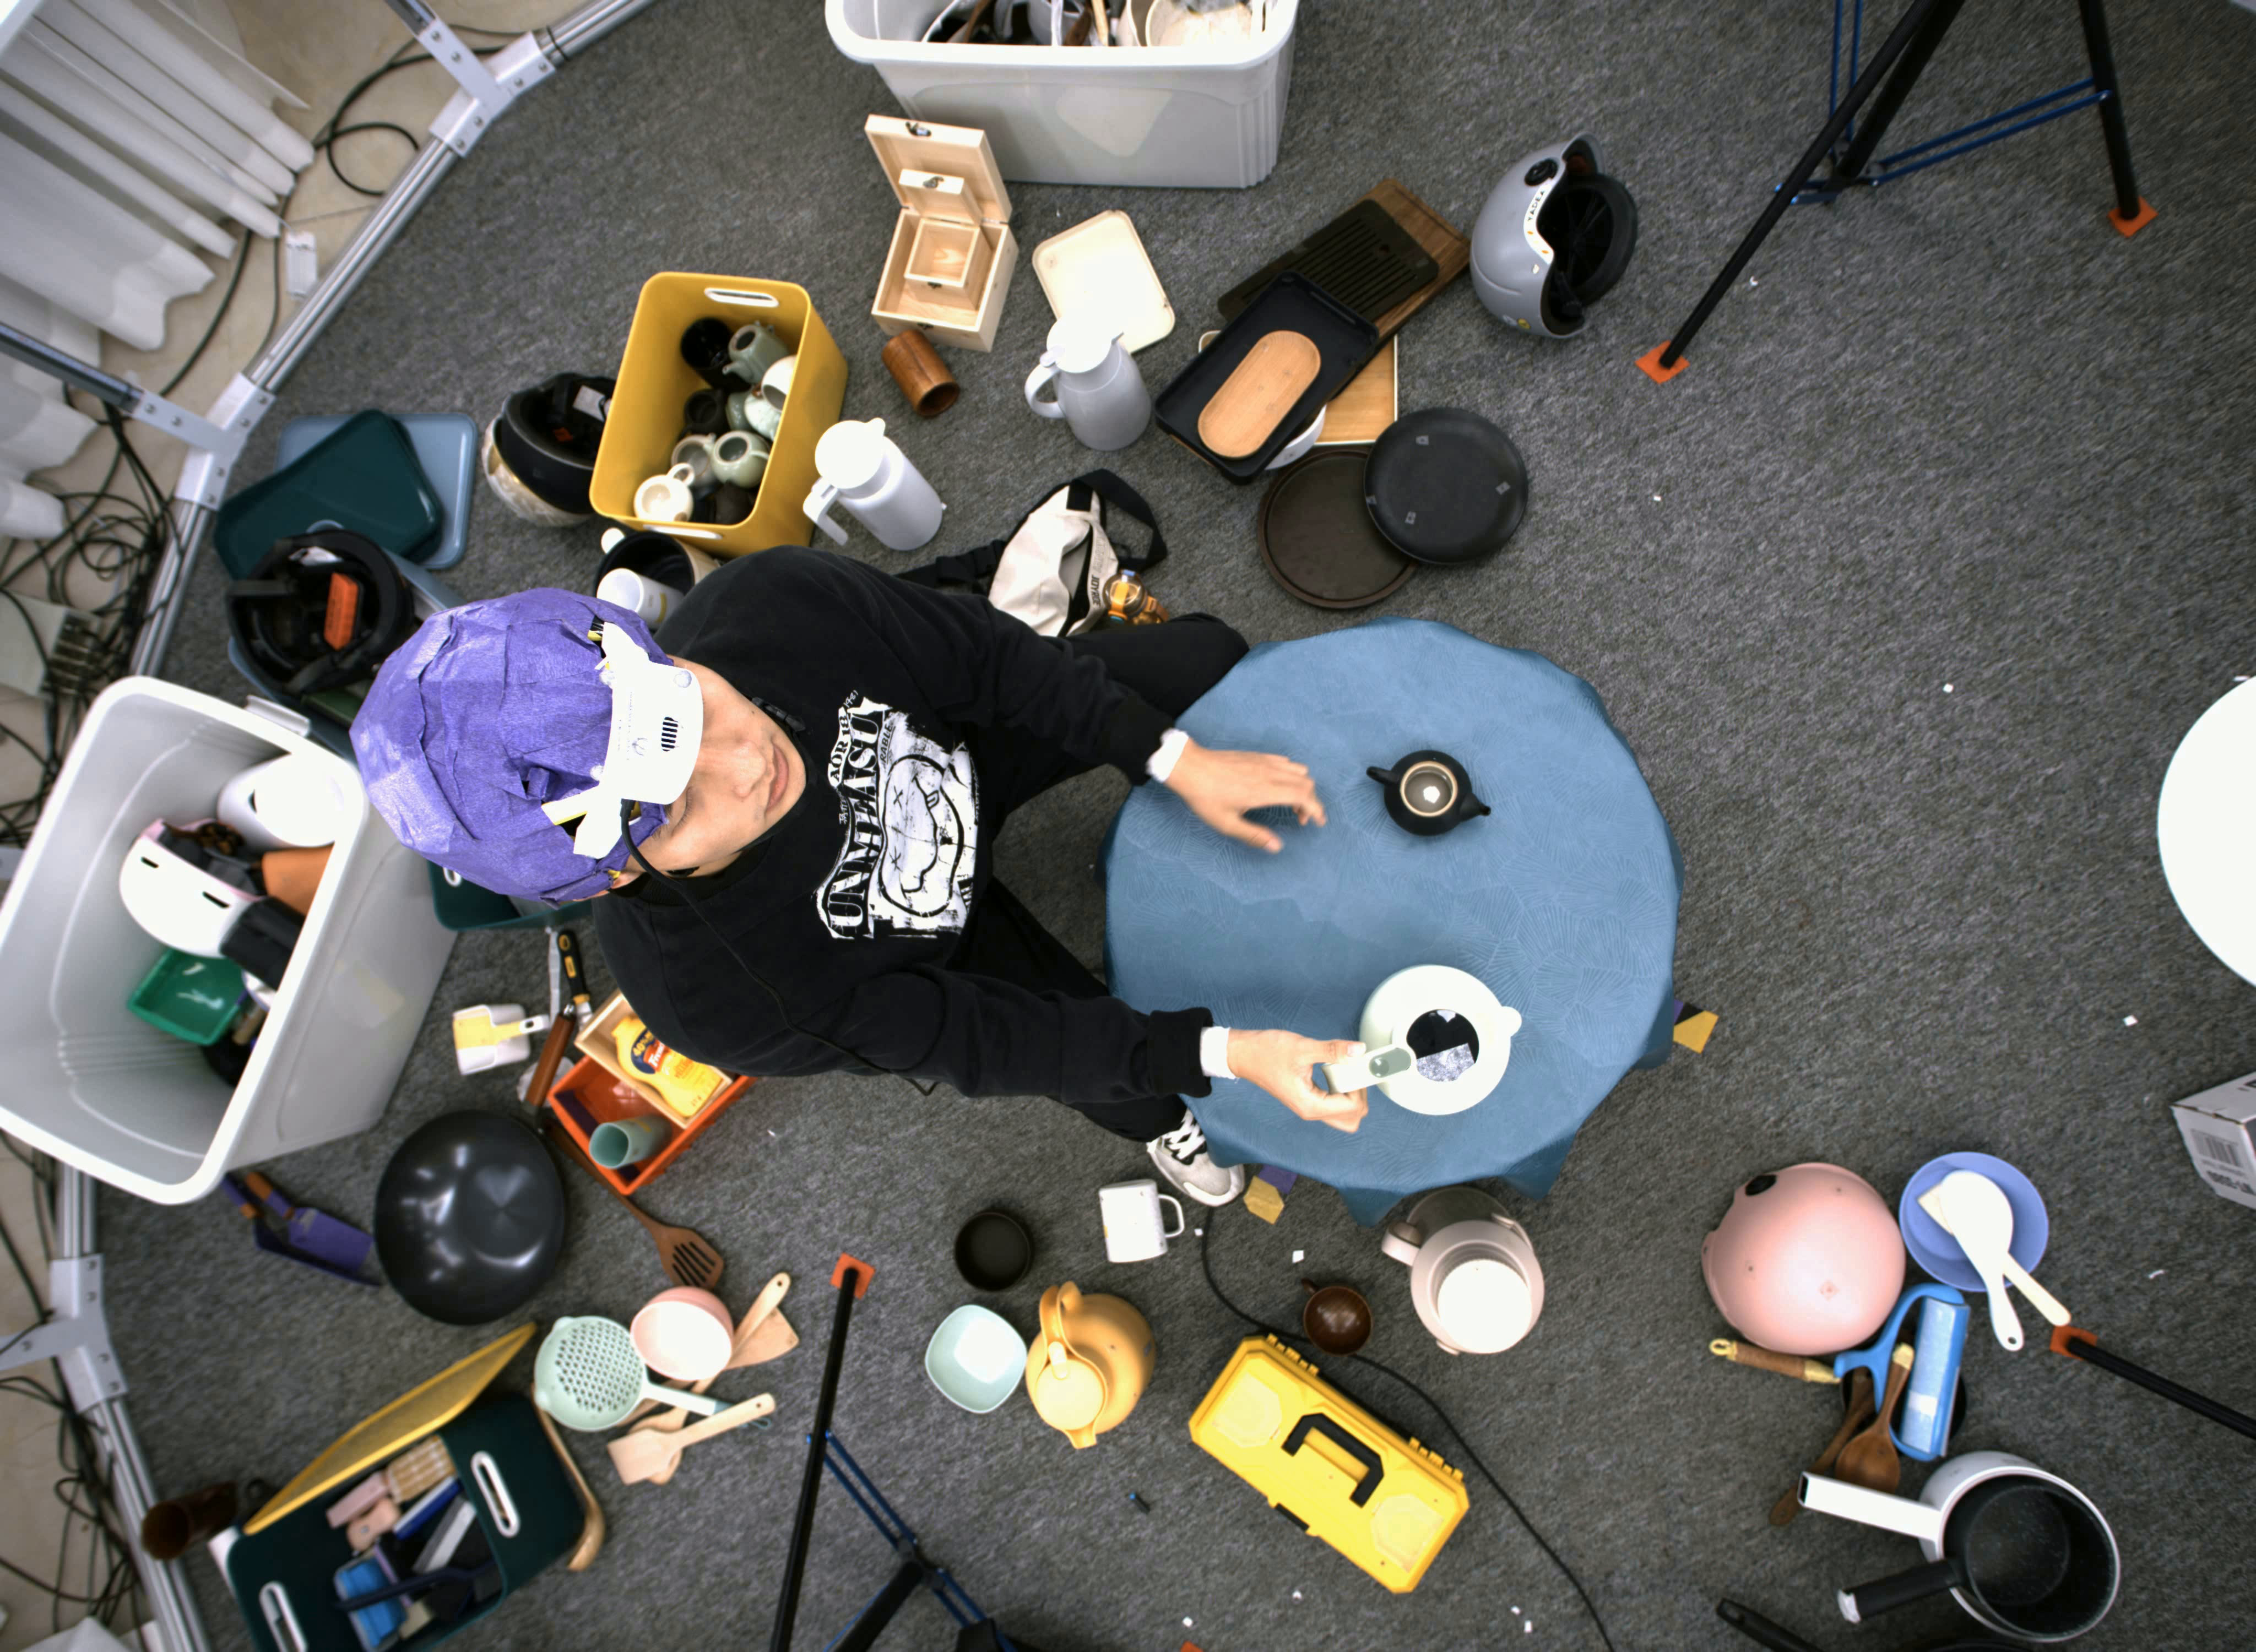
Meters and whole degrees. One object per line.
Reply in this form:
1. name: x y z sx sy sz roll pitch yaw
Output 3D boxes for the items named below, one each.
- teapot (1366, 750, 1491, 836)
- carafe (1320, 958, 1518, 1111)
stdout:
1. teapot: 0.312 -0.037 1.431 0.133 0.053 0.091 21 89 11
2. carafe: 0.280 0.206 1.326 0.188 0.256 0.143 -21 84 11
